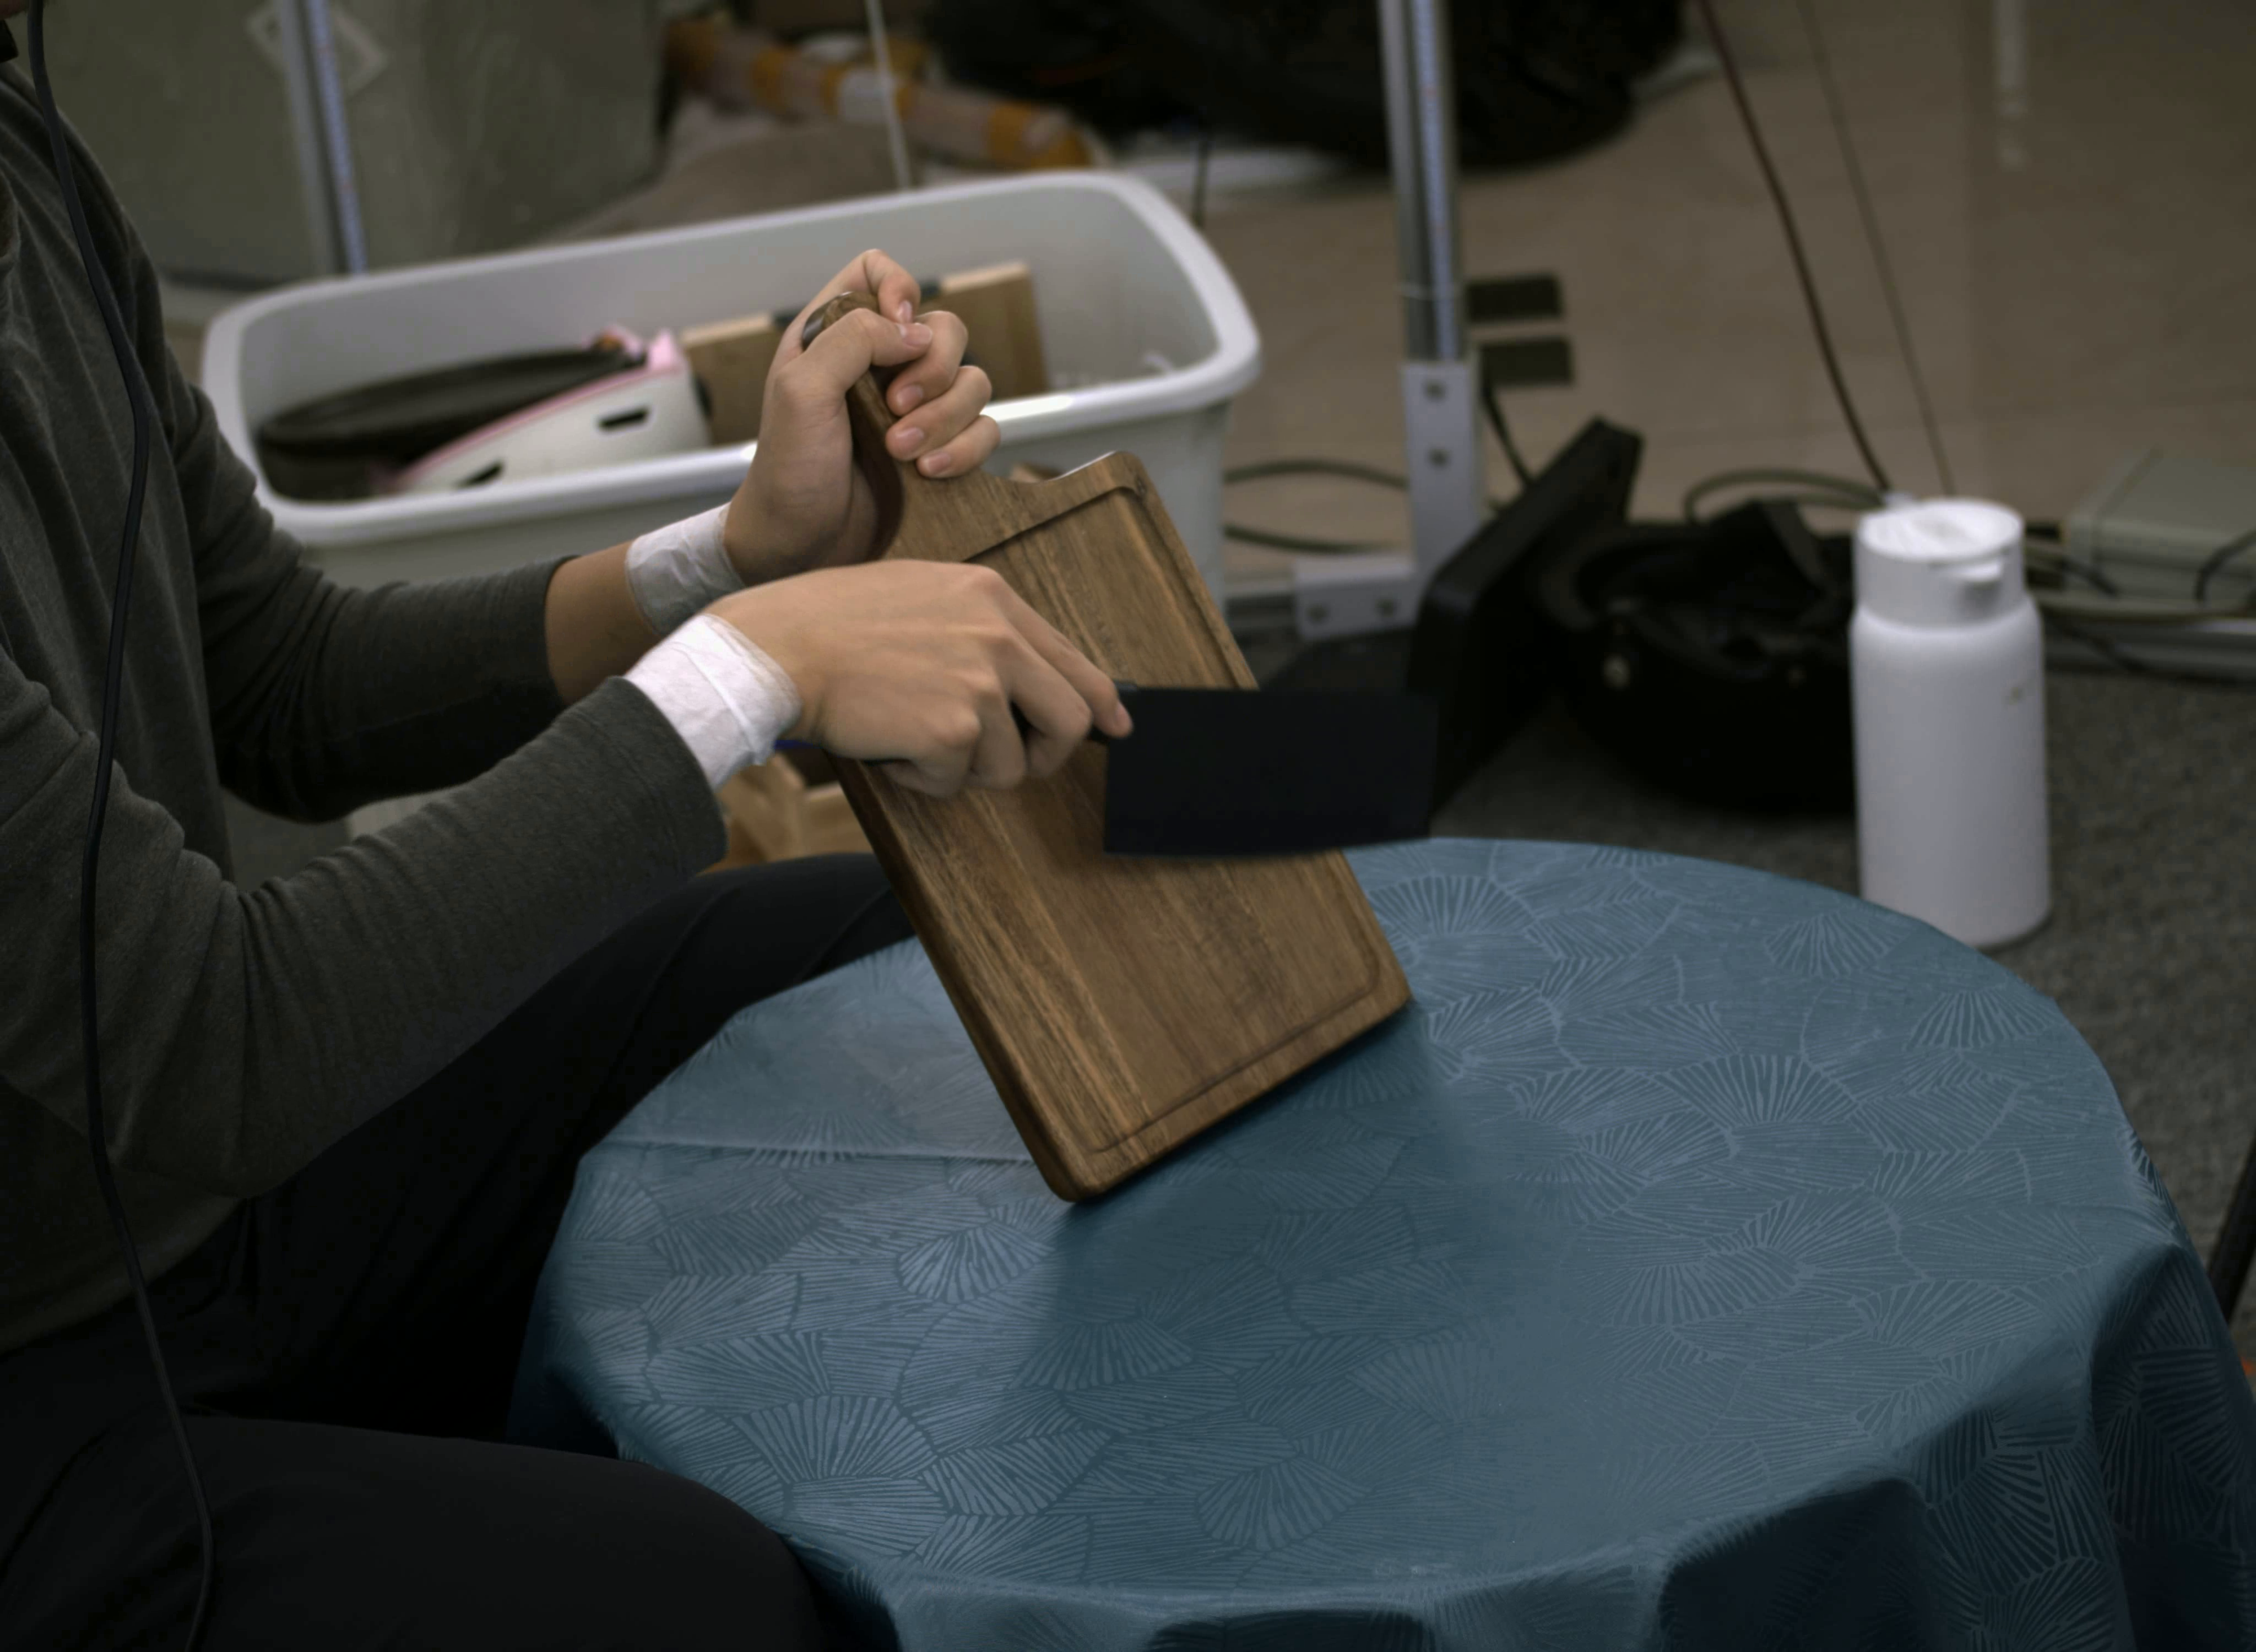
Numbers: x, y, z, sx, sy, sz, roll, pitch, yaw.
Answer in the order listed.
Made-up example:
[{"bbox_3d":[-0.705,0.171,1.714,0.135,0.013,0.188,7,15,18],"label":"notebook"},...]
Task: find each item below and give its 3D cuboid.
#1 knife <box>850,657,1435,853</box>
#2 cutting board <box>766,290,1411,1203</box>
[{"bbox_3d":[0.013,-0.029,2.176,0.302,0.081,0.021,4,3,-43],"label":"knife"},{"bbox_3d":[-0.034,-0.048,2.187,0.199,0.353,0.023,-30,5,-39],"label":"cutting board"}]
